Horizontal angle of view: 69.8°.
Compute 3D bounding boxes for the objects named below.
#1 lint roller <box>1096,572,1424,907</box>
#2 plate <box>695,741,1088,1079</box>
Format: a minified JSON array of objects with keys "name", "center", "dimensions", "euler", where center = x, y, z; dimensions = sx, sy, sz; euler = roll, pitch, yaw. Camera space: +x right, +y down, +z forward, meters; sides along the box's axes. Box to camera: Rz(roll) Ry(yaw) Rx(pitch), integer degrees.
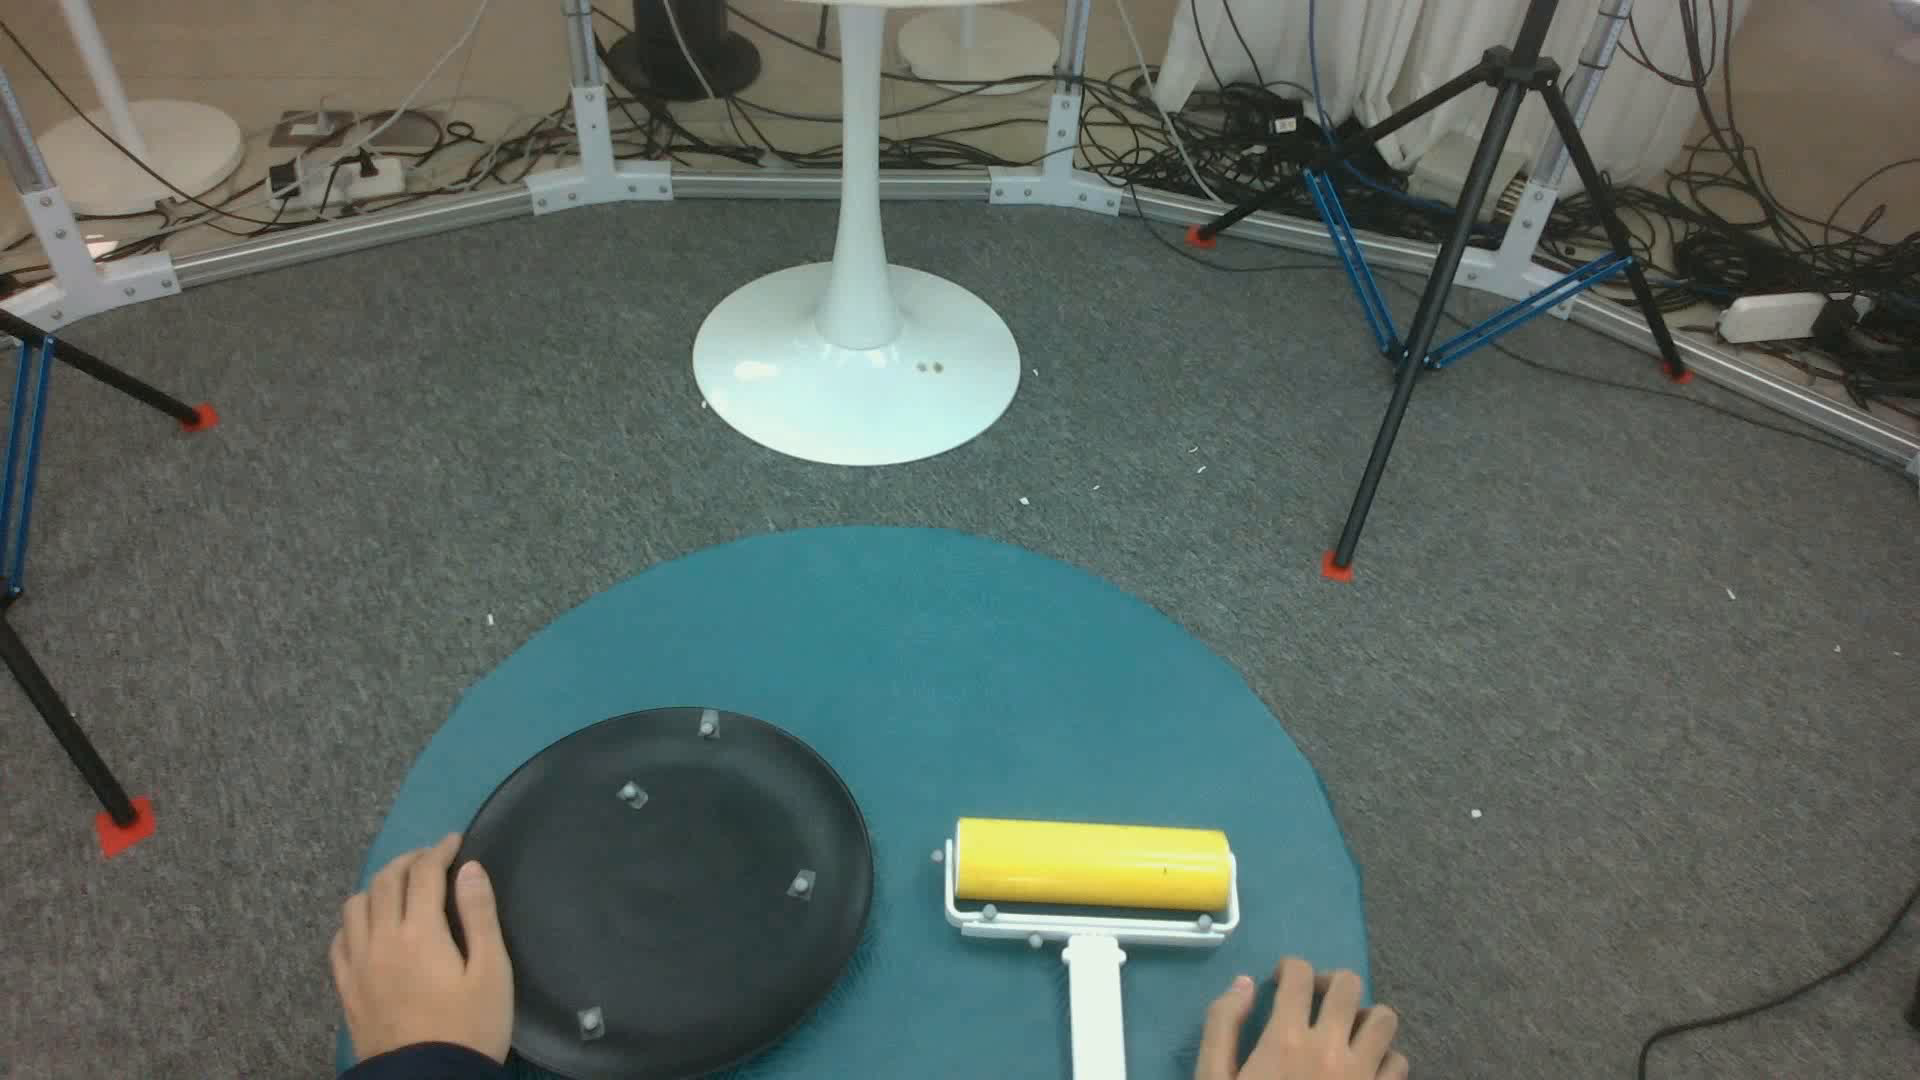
[{"name":"lint roller","center":[0.194,0.124,0.785],"dimensions":[0.174,0.051,0.192],"euler":[-32,45,-4]},{"name":"plate","center":[-0.040,0.230,0.811],"dimensions":[0.244,0.023,0.245],"euler":[-11,50,14]}]
